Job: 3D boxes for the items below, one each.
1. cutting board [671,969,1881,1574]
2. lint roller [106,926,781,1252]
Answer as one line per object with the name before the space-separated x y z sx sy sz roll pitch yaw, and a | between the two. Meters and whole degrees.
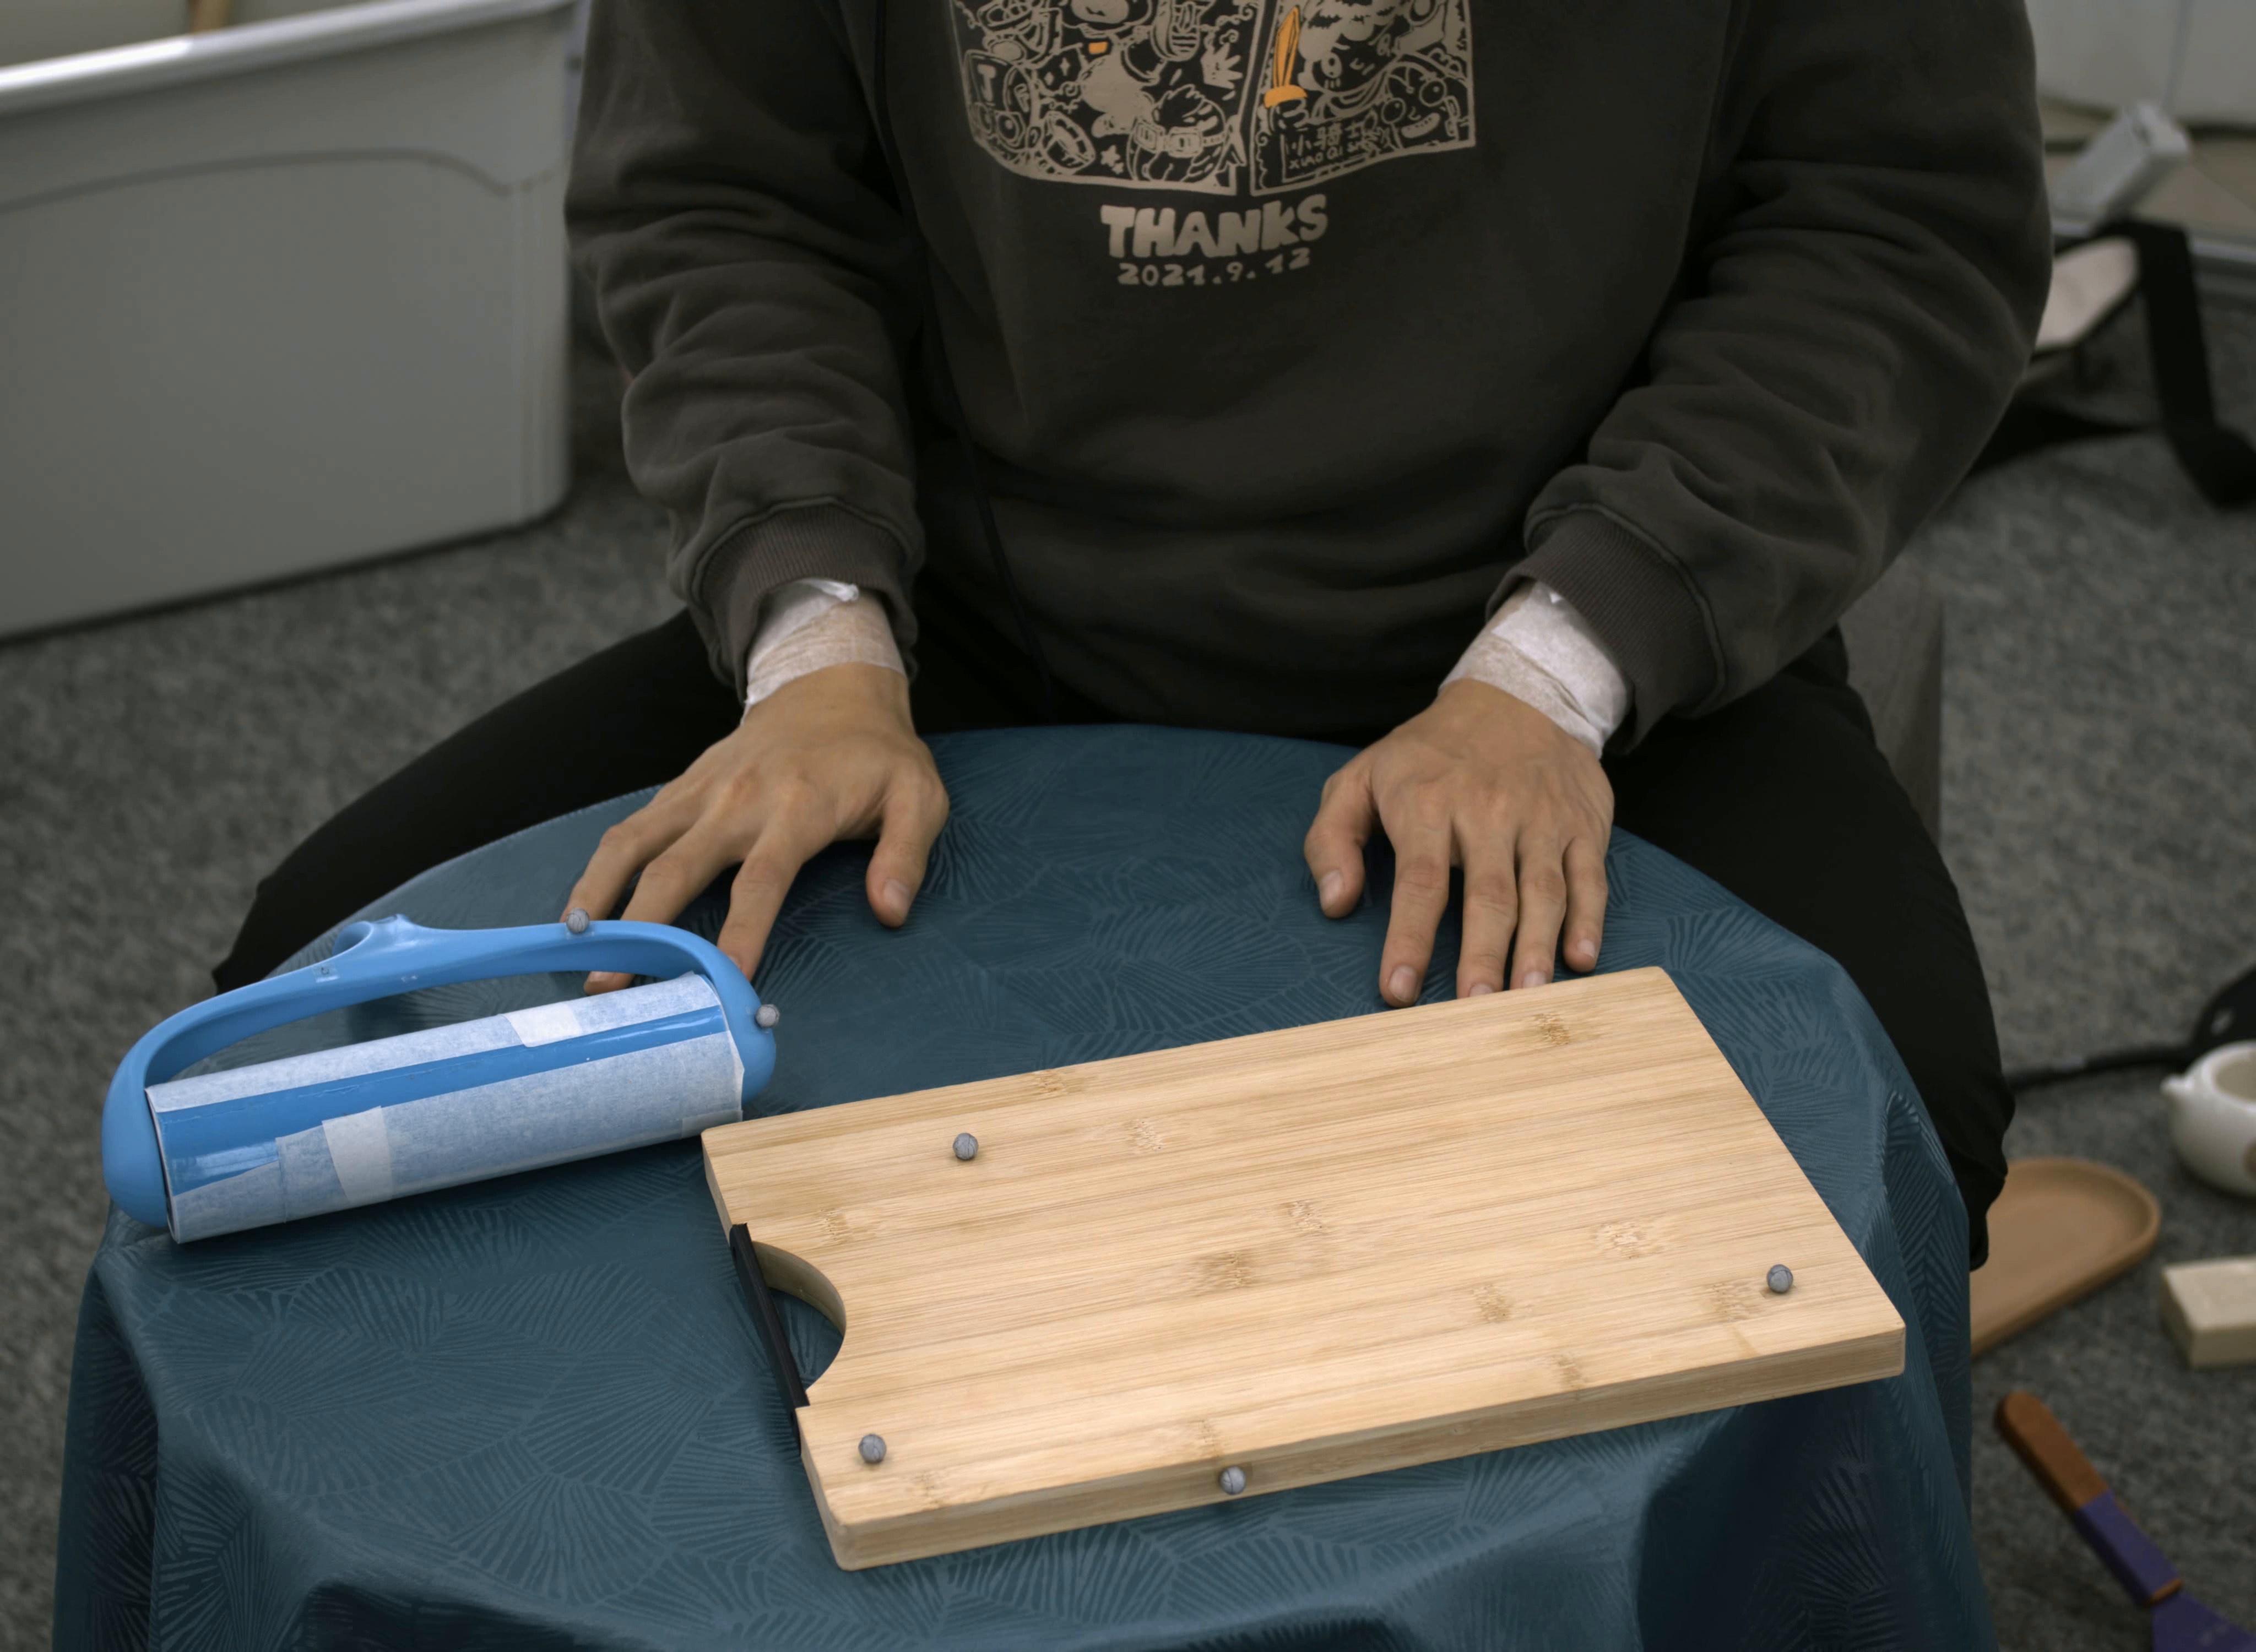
cutting board | 0.043 0.138 1.808 0.348 0.023 0.253 -9 28 -12
lint roller | -0.248 0.070 1.923 0.229 0.067 0.181 -14 30 -18
